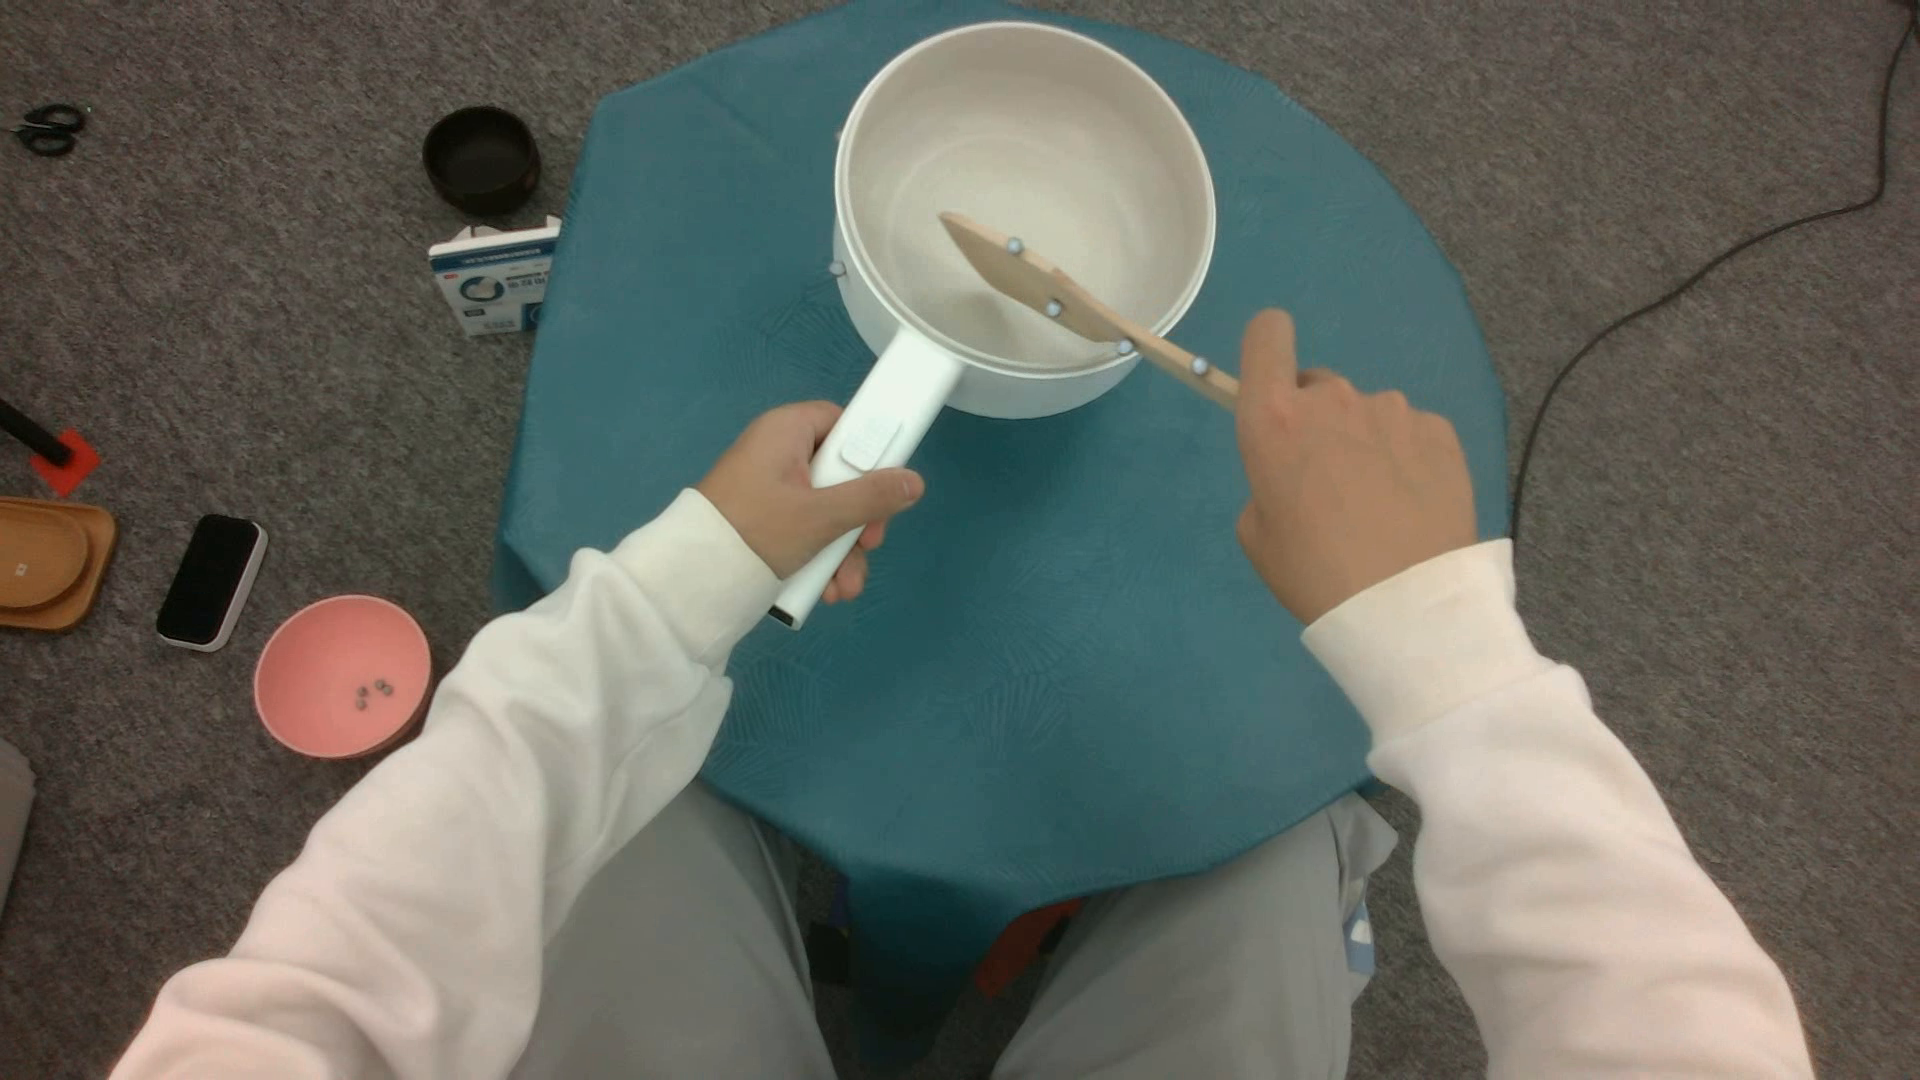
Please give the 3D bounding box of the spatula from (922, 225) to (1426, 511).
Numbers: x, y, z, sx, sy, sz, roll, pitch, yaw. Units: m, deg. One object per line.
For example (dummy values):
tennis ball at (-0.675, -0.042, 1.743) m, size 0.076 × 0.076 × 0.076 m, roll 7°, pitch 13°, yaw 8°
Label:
spatula at (0.092, -0.085, 0.651) m, size 0.293 × 0.072 × 0.010 m, roll 34°, pitch 86°, yaw 35°

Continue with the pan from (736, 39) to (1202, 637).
pan at (-0.011, -0.101, 0.745) m, size 0.201 × 0.102 × 0.356 m, roll 29°, pitch 72°, yaw 0°
